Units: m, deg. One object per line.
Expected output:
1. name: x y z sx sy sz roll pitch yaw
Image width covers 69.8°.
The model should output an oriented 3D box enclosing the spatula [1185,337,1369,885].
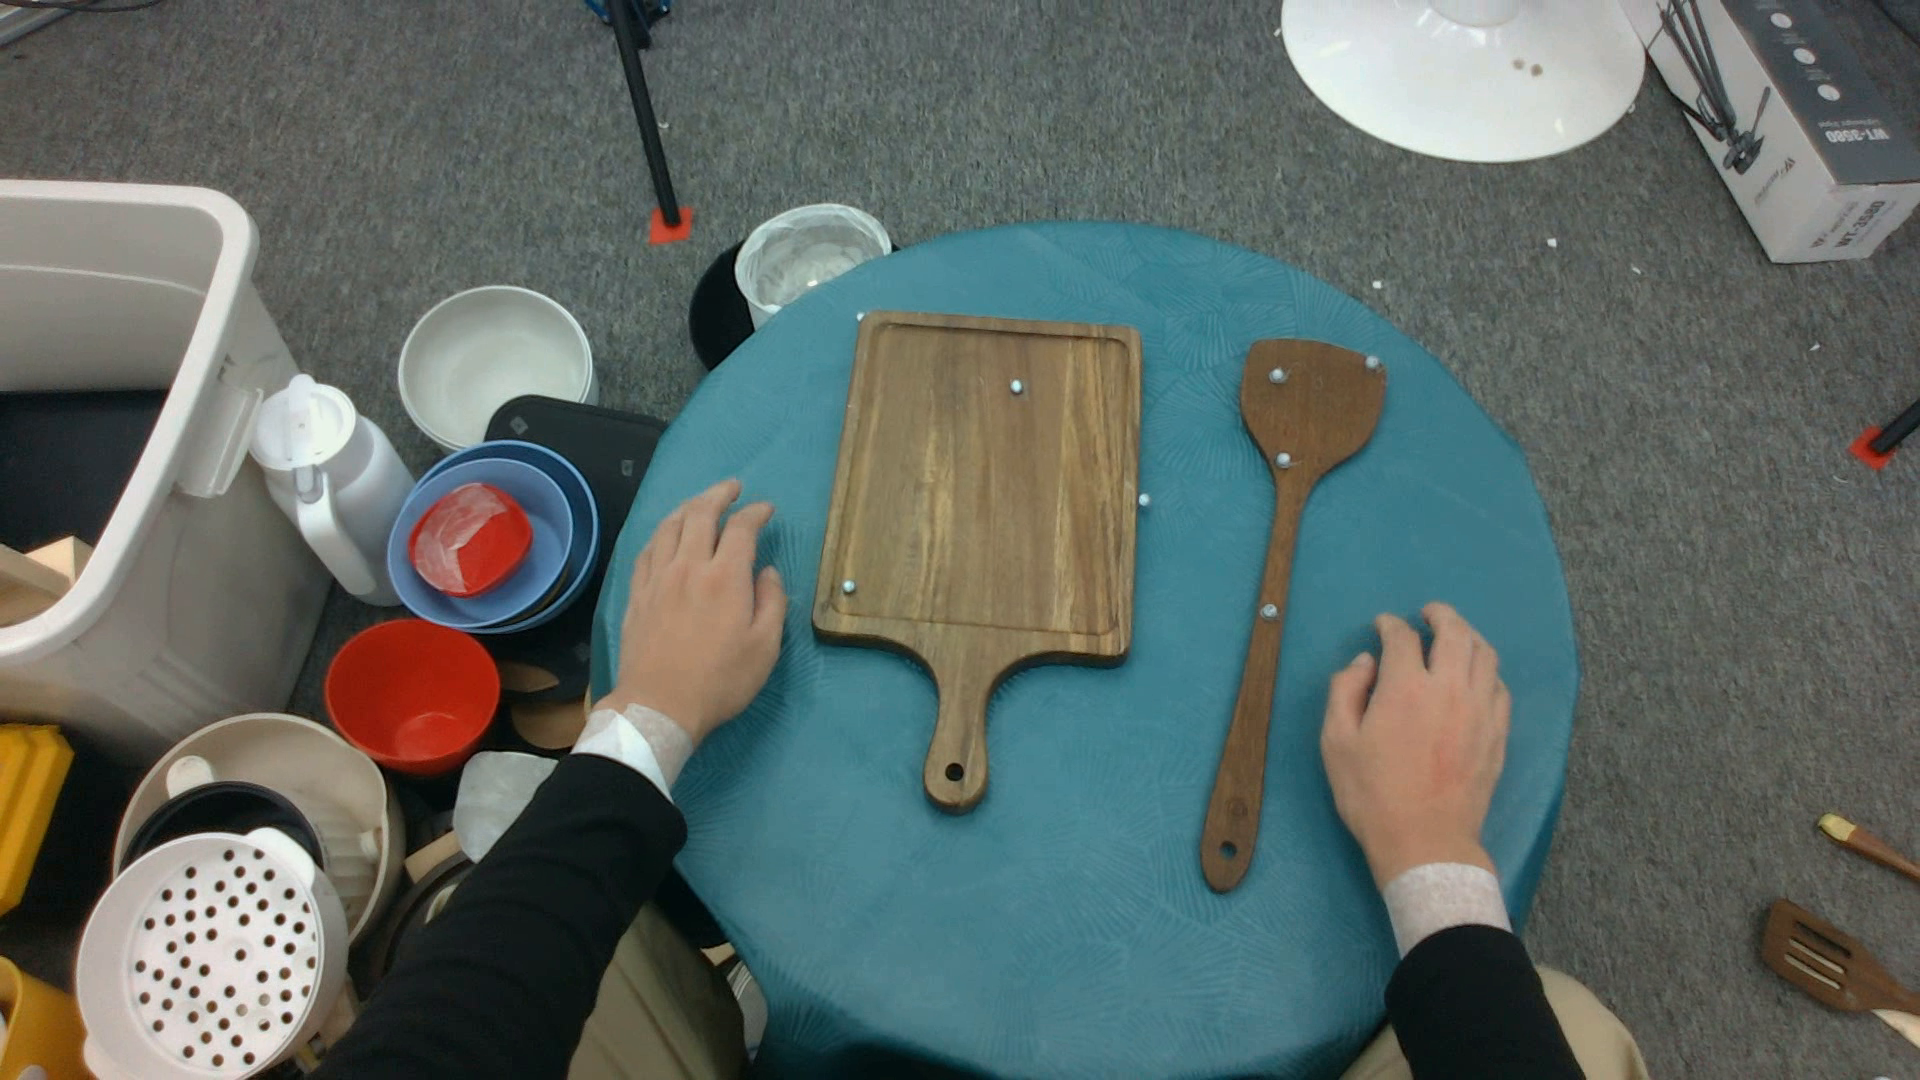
1. spatula: 0.186 0.026 0.854 0.096 0.016 0.387 13 61 8

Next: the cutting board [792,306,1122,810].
1. cutting board: 0.001 -0.003 0.866 0.201 0.023 0.353 4 60 2
